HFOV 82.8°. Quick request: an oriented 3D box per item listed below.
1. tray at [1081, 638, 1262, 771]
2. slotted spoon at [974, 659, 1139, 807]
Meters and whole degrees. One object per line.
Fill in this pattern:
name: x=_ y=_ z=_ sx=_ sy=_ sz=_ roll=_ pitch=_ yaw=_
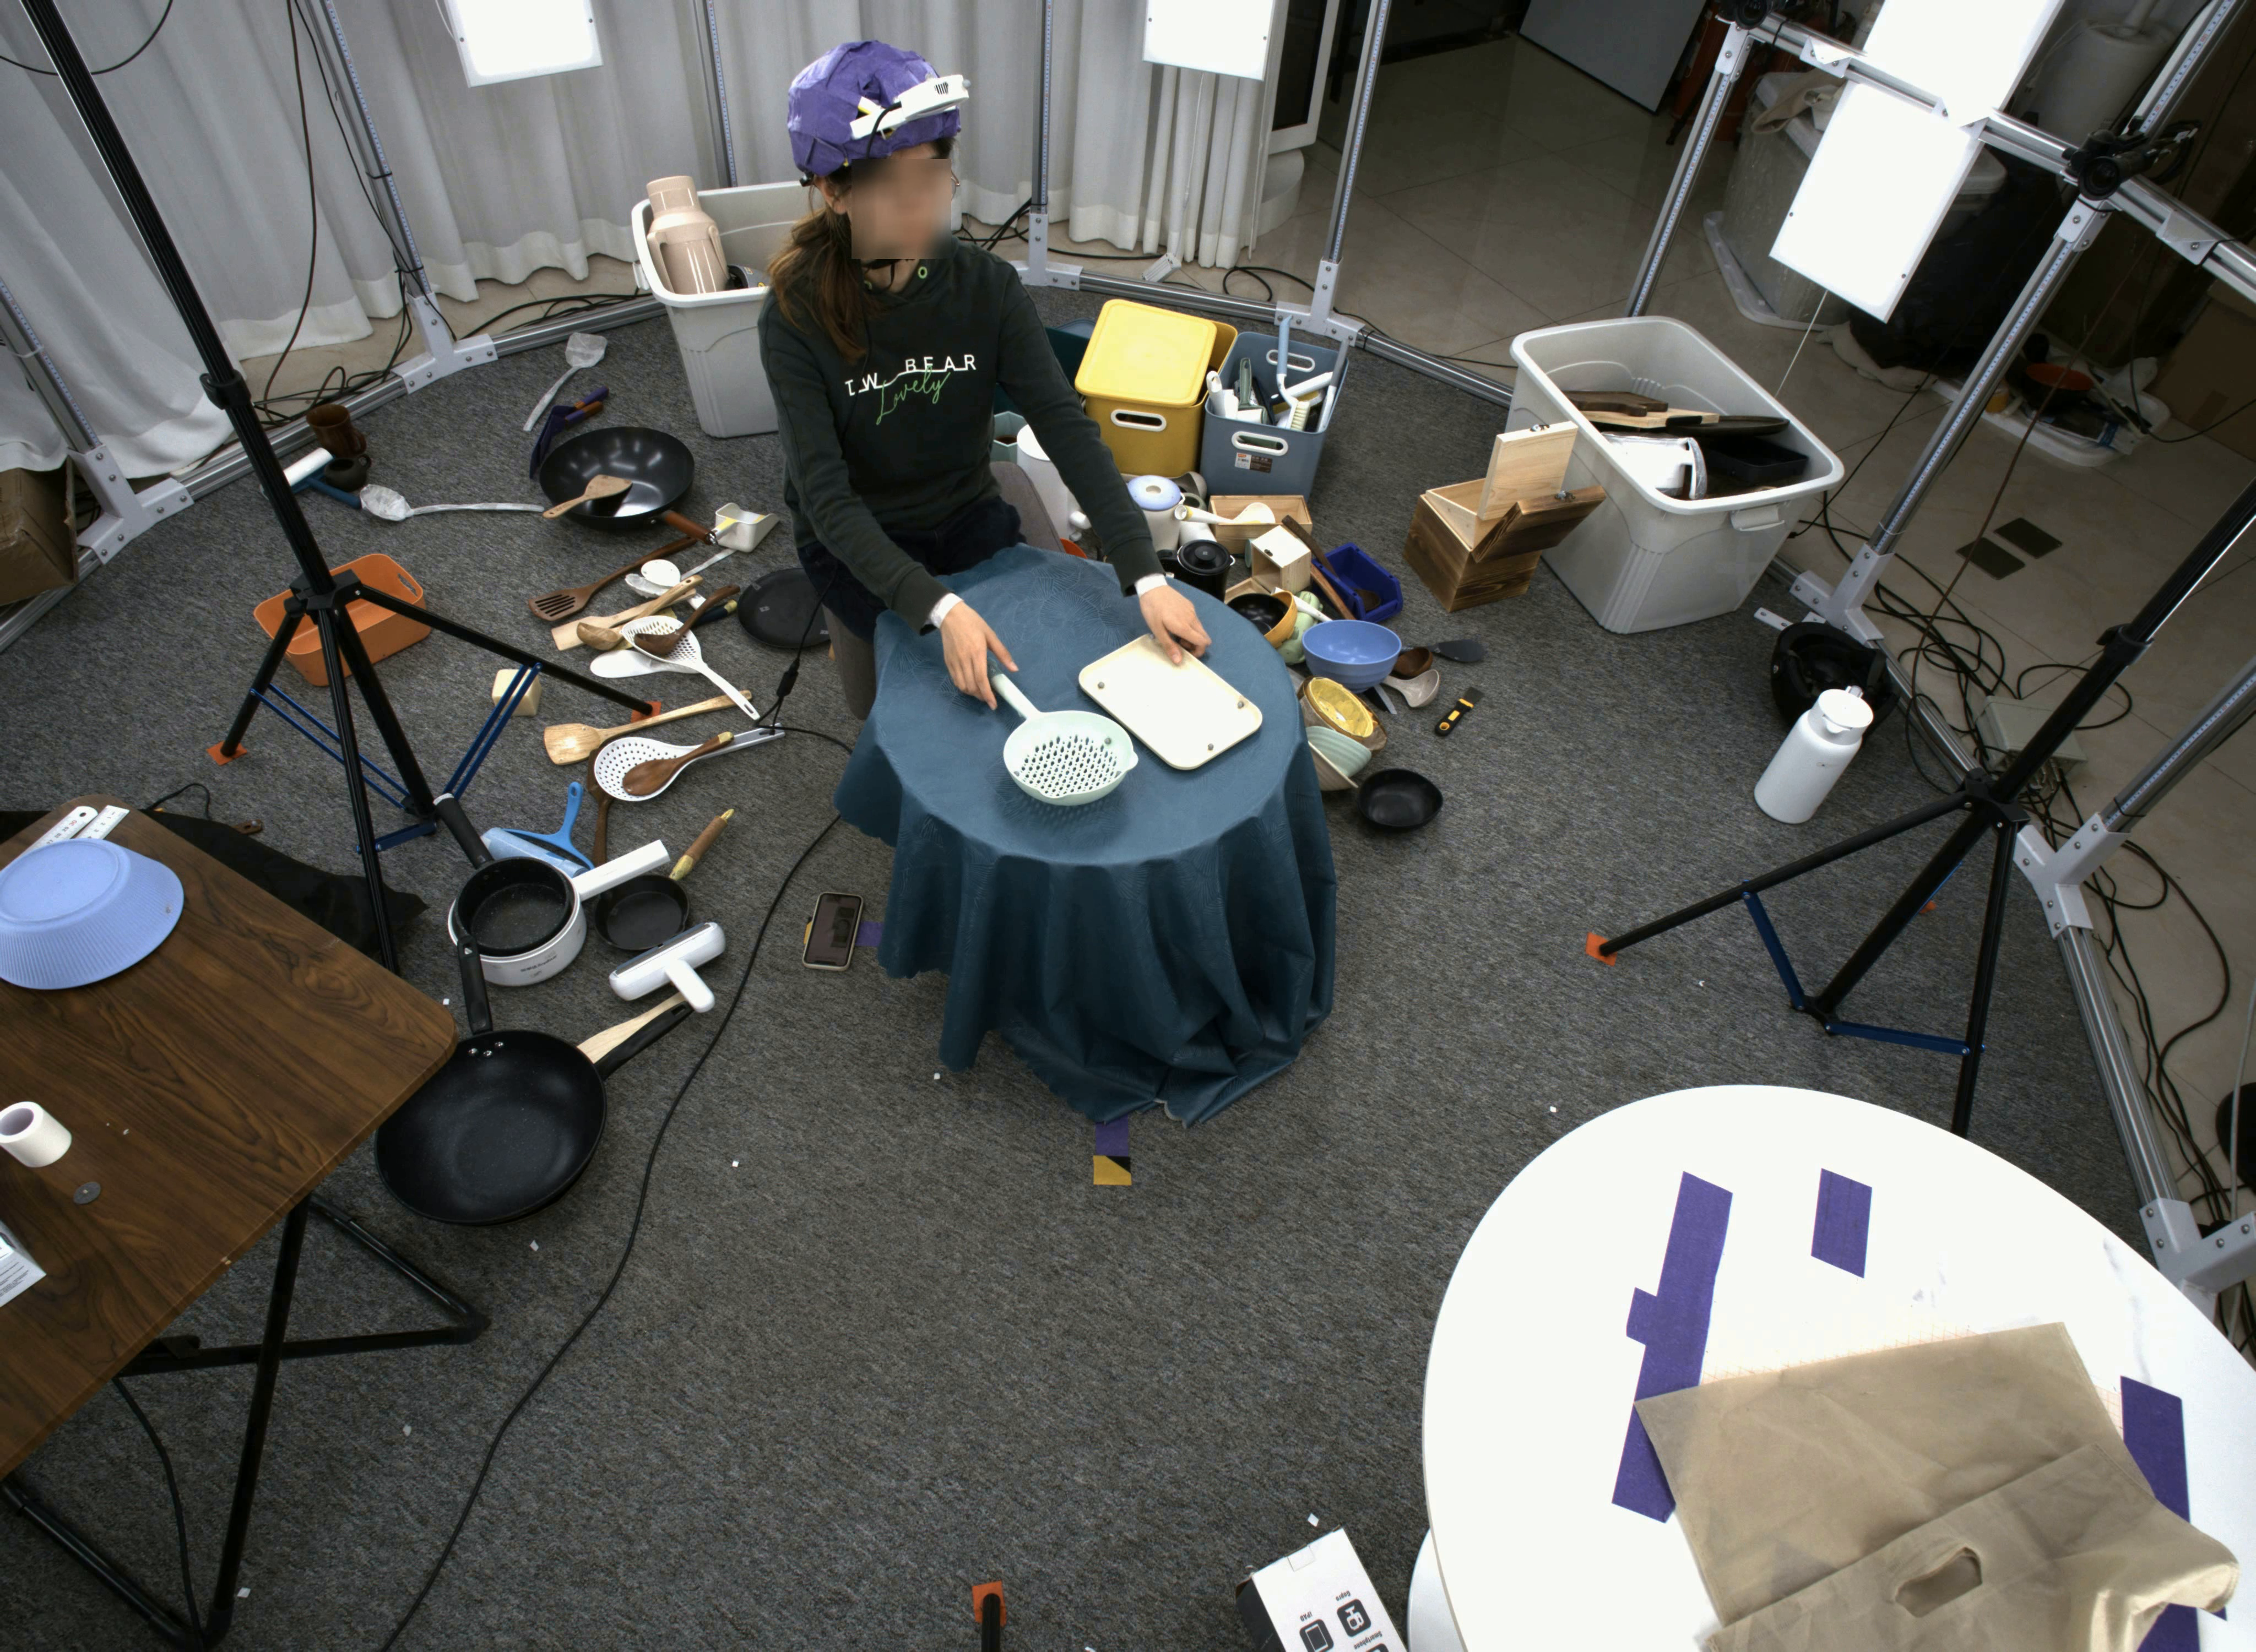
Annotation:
tray: x=0.060 y=-0.175 z=1.830 sx=0.172 sy=0.017 sz=0.244 roll=-32 pitch=57 yaw=-28
slotted spoon: x=-0.128 y=-0.144 z=1.761 sx=0.170 sy=0.073 sz=0.366 roll=-22 pitch=53 yaw=-22
